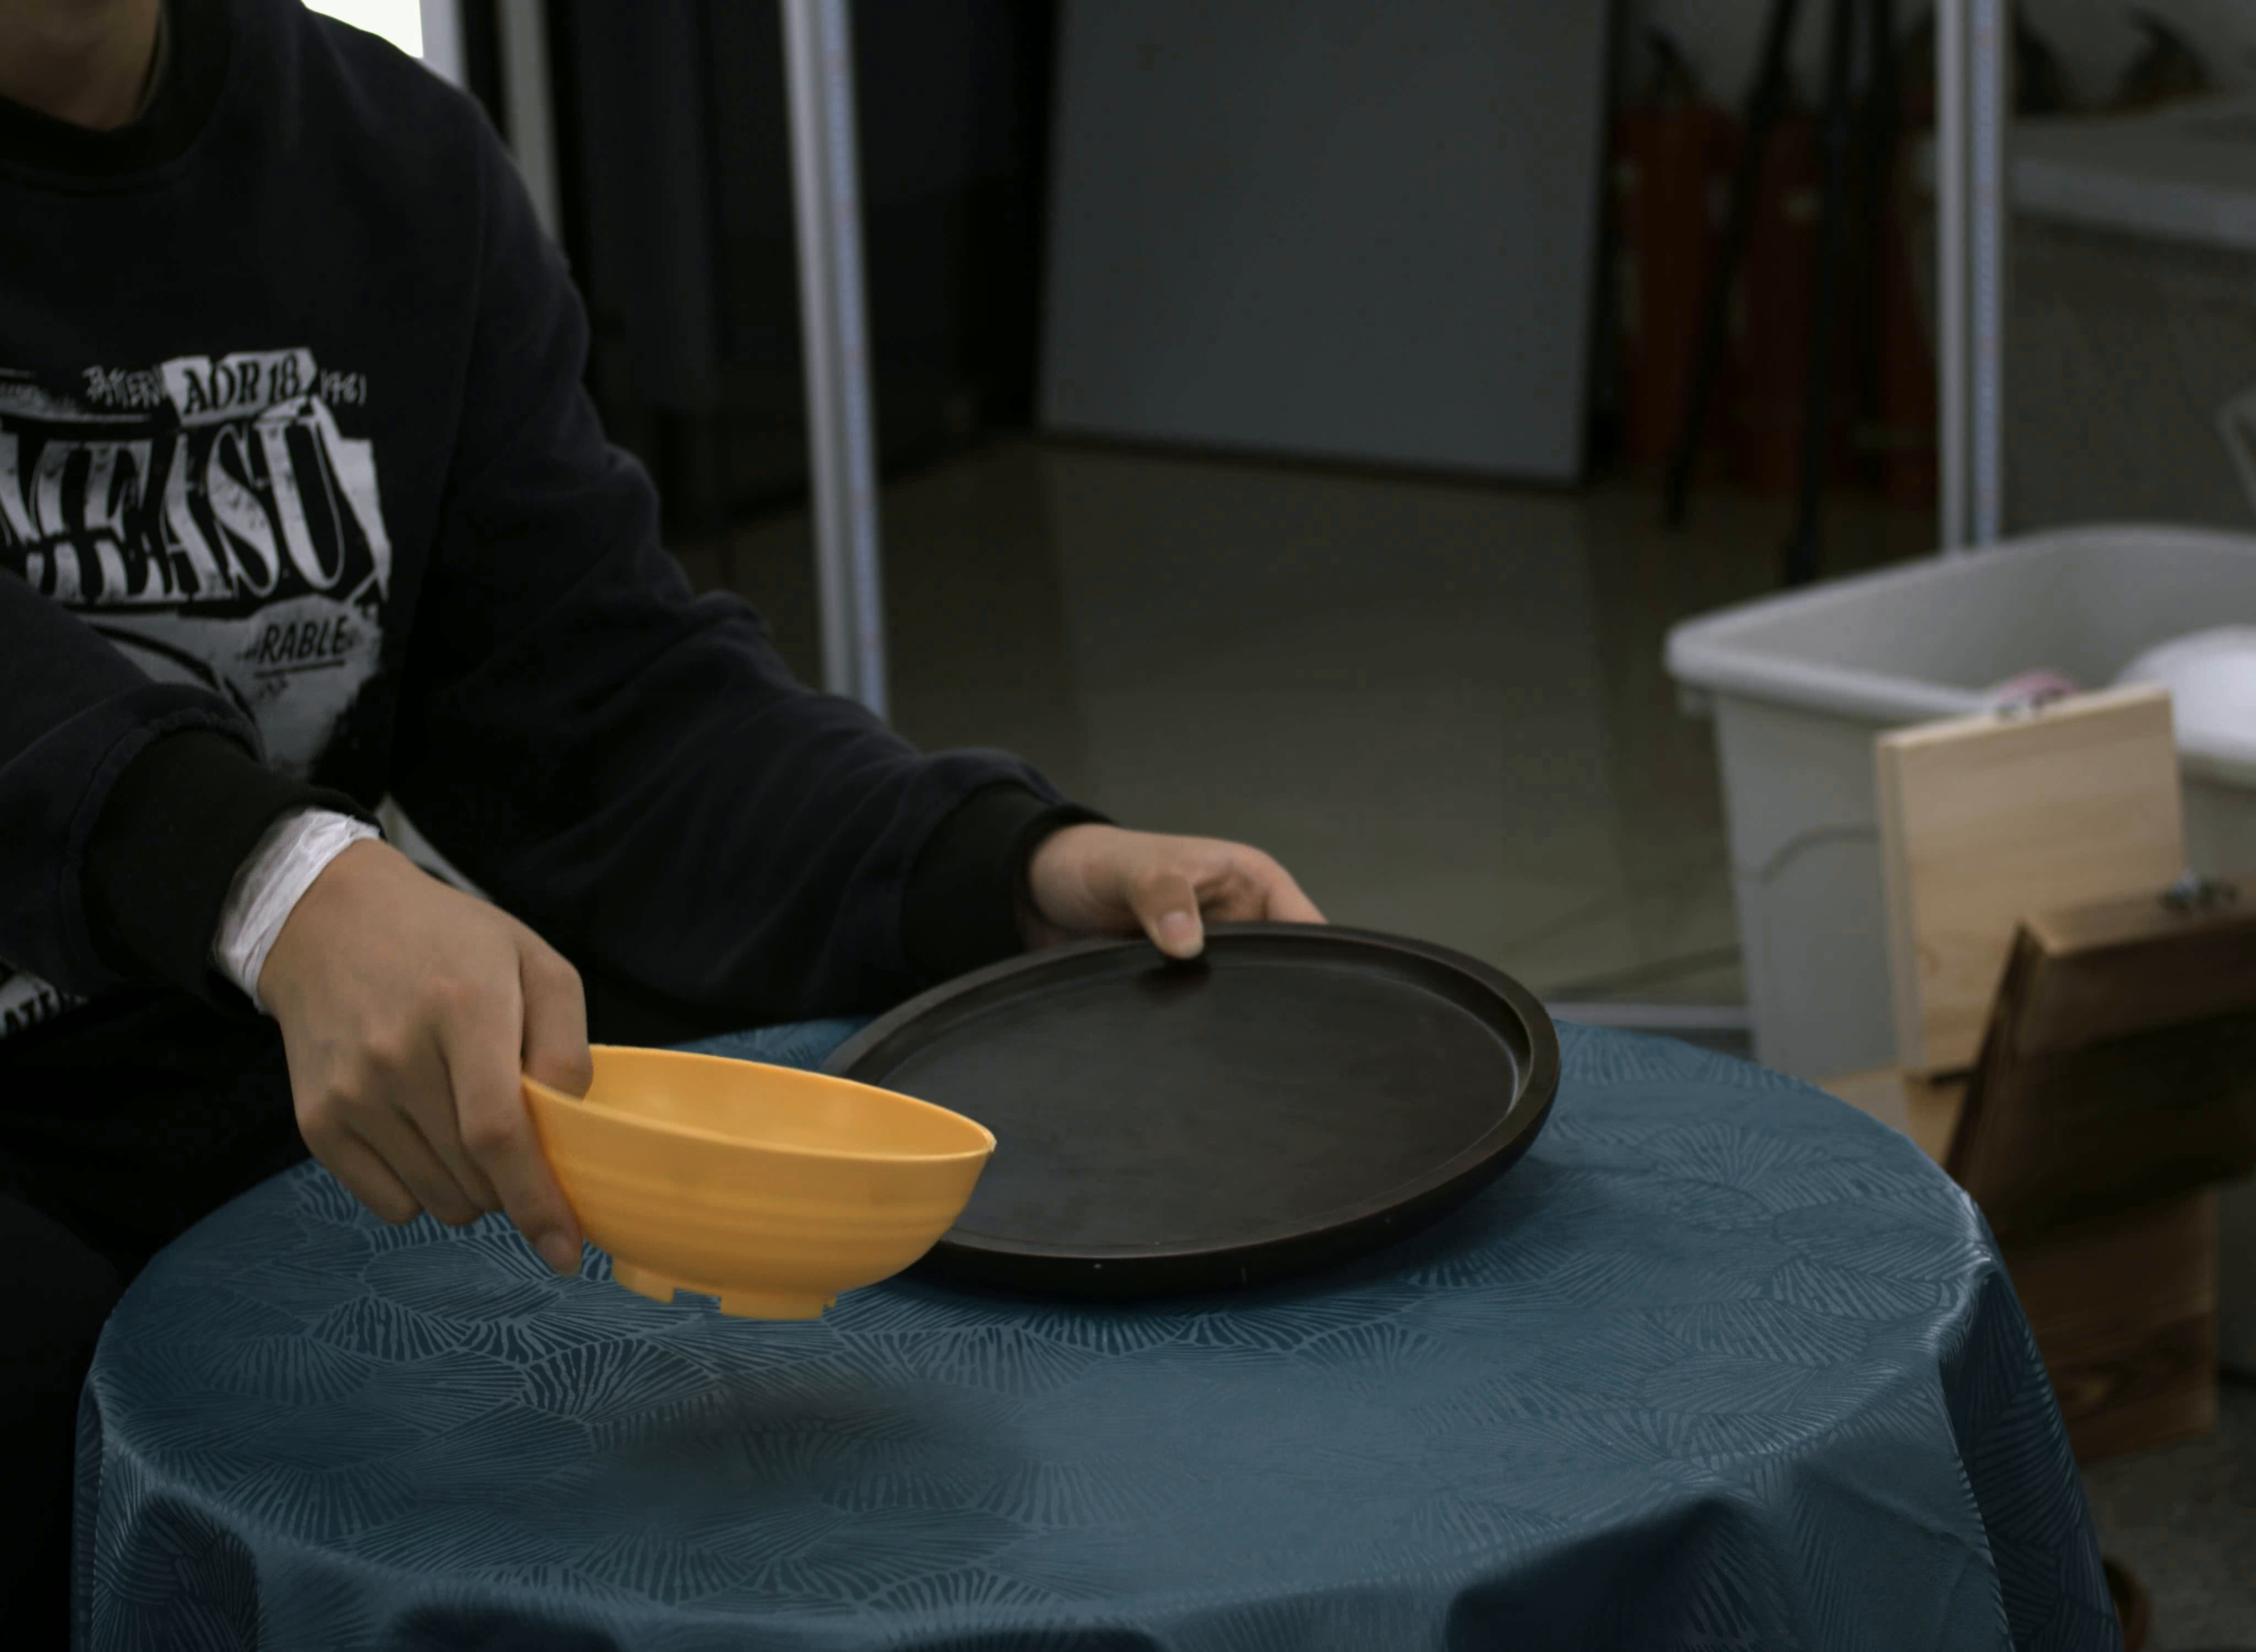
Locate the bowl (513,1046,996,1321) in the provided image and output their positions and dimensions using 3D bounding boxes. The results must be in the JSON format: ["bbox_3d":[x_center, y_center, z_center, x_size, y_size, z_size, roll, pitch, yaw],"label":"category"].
[{"bbox_3d":[-0.113,0.107,1.566,0.143,0.061,0.145,11,2,-1],"label":"bowl"}]

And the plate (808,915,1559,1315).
[{"bbox_3d":[0.017,0.092,1.764,0.252,0.029,0.255,-8,23,3],"label":"plate"}]
